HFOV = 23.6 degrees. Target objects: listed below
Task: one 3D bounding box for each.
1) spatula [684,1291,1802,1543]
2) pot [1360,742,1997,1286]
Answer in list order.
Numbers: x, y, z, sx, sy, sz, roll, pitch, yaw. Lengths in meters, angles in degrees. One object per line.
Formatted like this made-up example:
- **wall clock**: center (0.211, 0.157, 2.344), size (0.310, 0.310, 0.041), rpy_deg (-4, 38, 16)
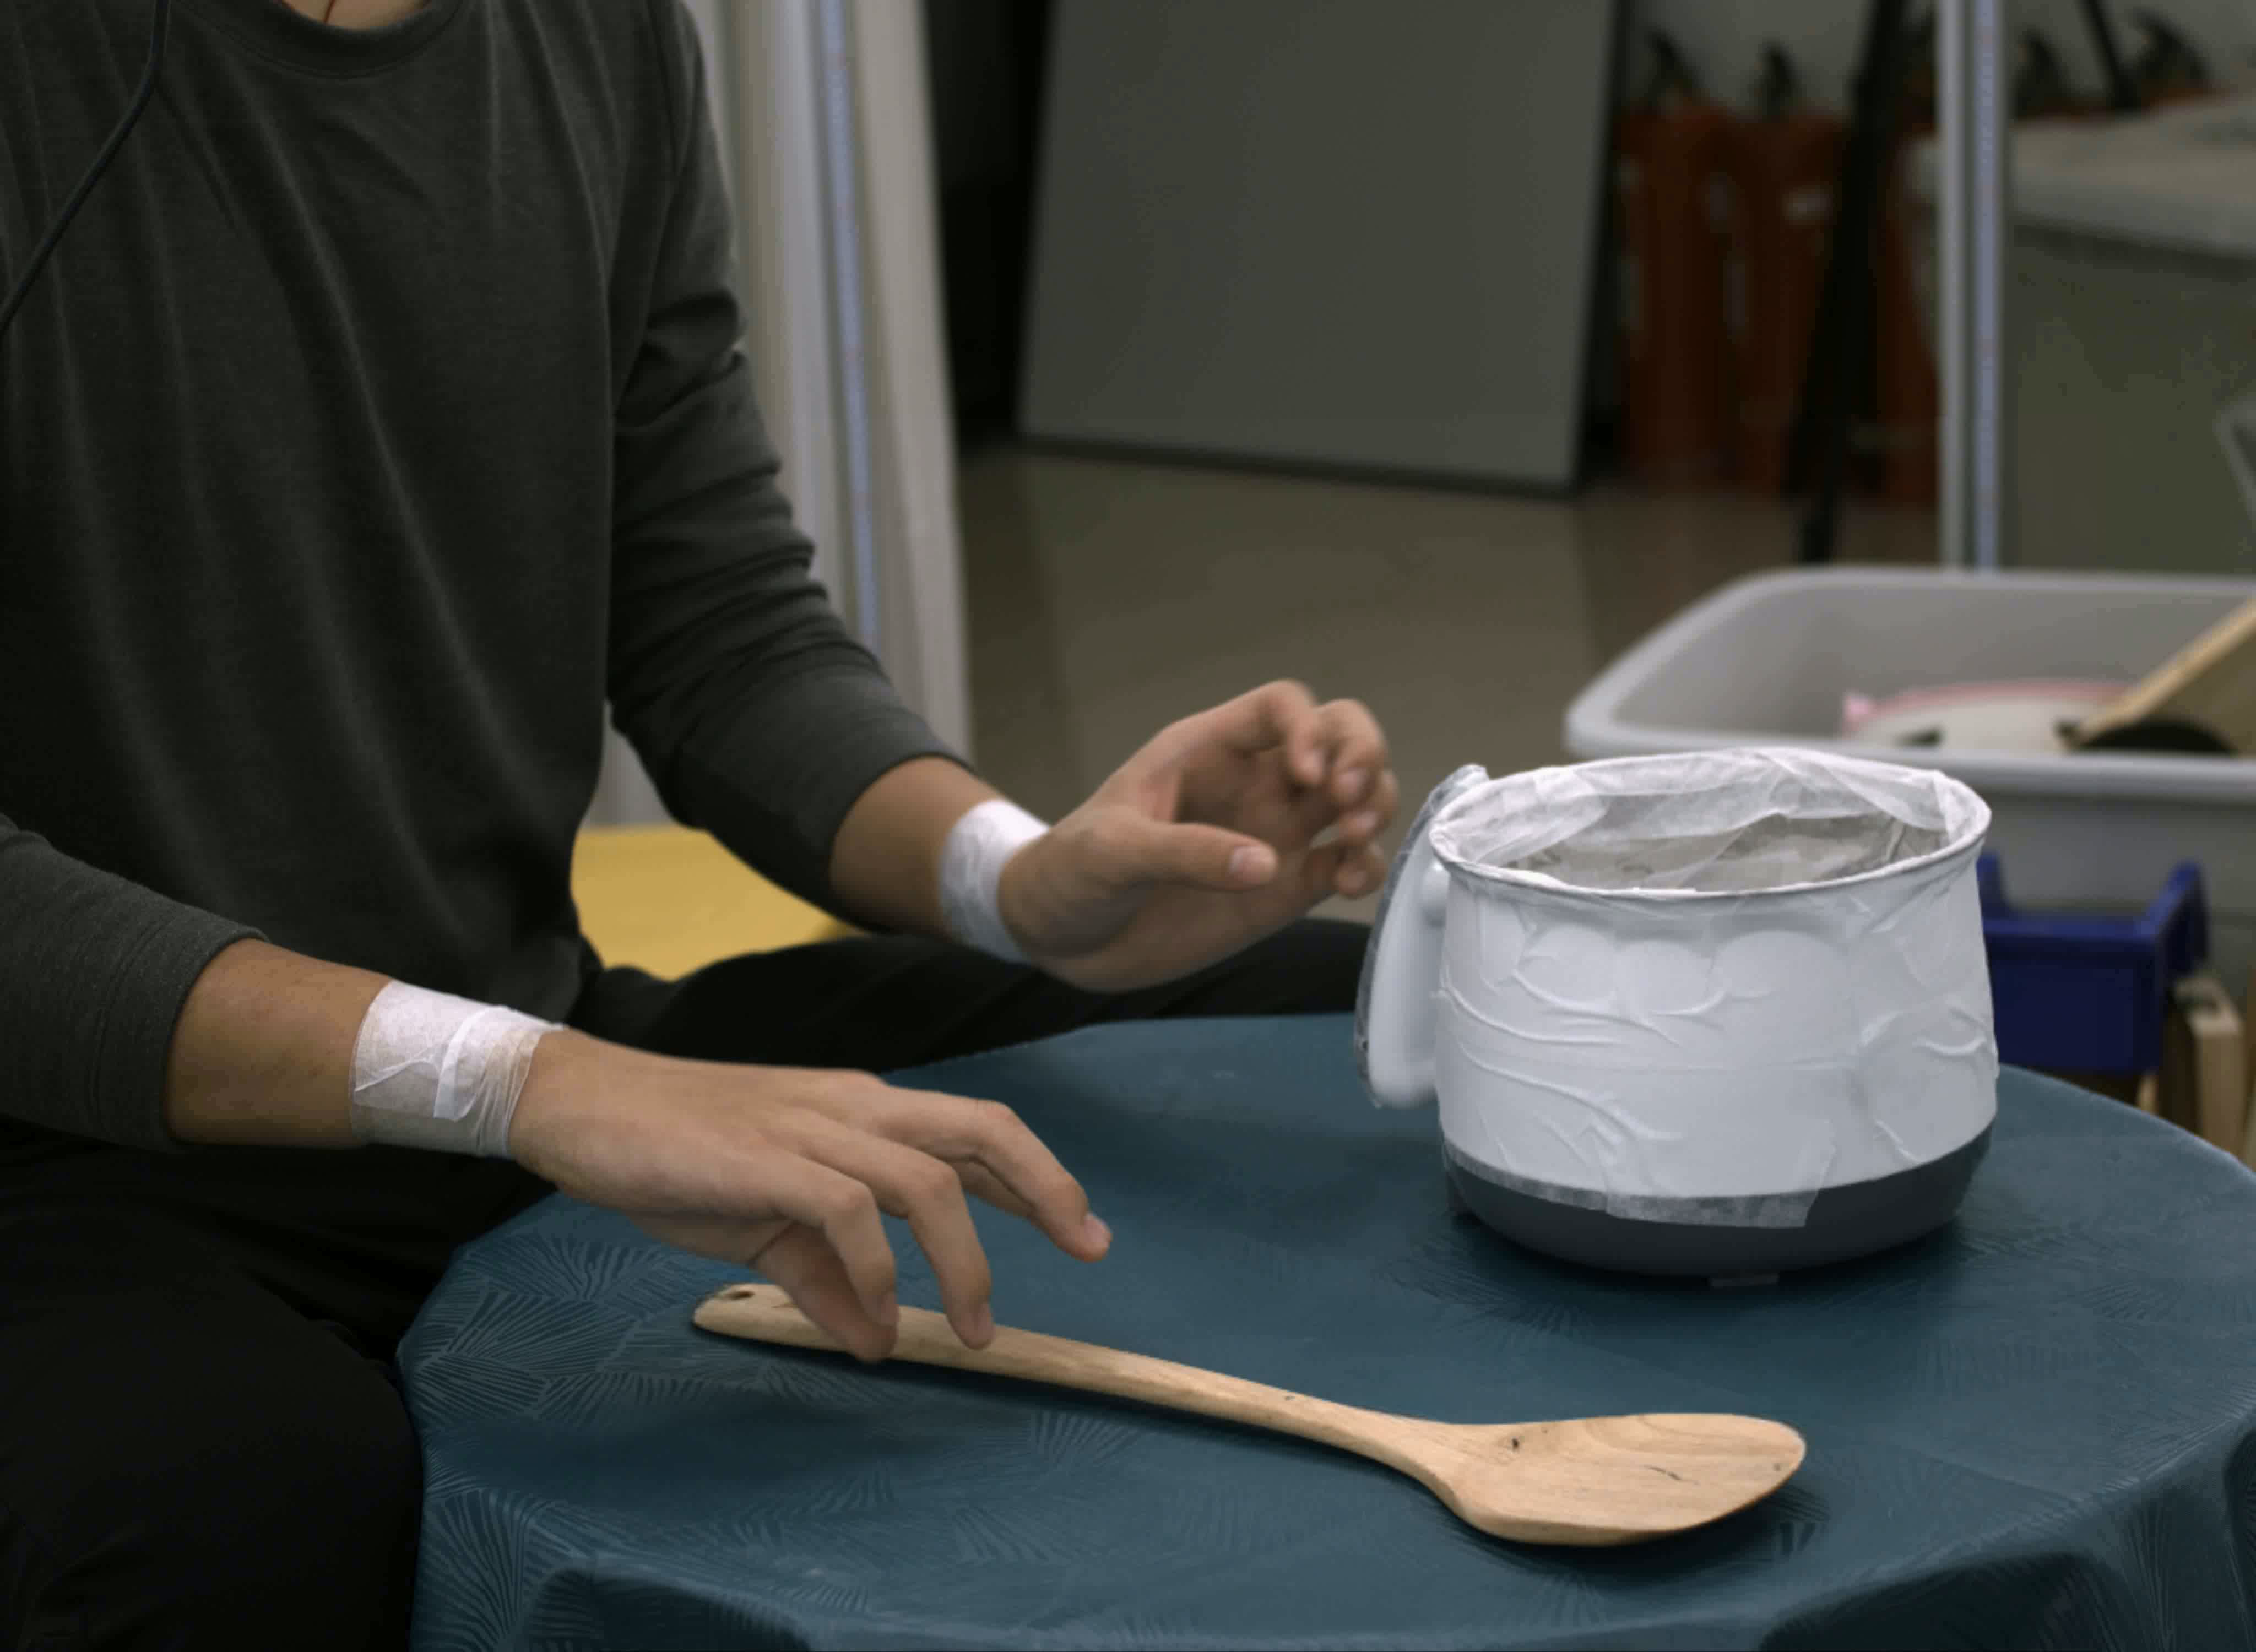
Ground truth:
- **spatula**: center (0.016, 0.165, 1.553), size (0.393, 0.018, 0.094), rpy_deg (7, 16, 38)
- **pot**: center (0.164, 0.054, 1.710), size (0.236, 0.138, 0.175), rpy_deg (9, 18, 44)
